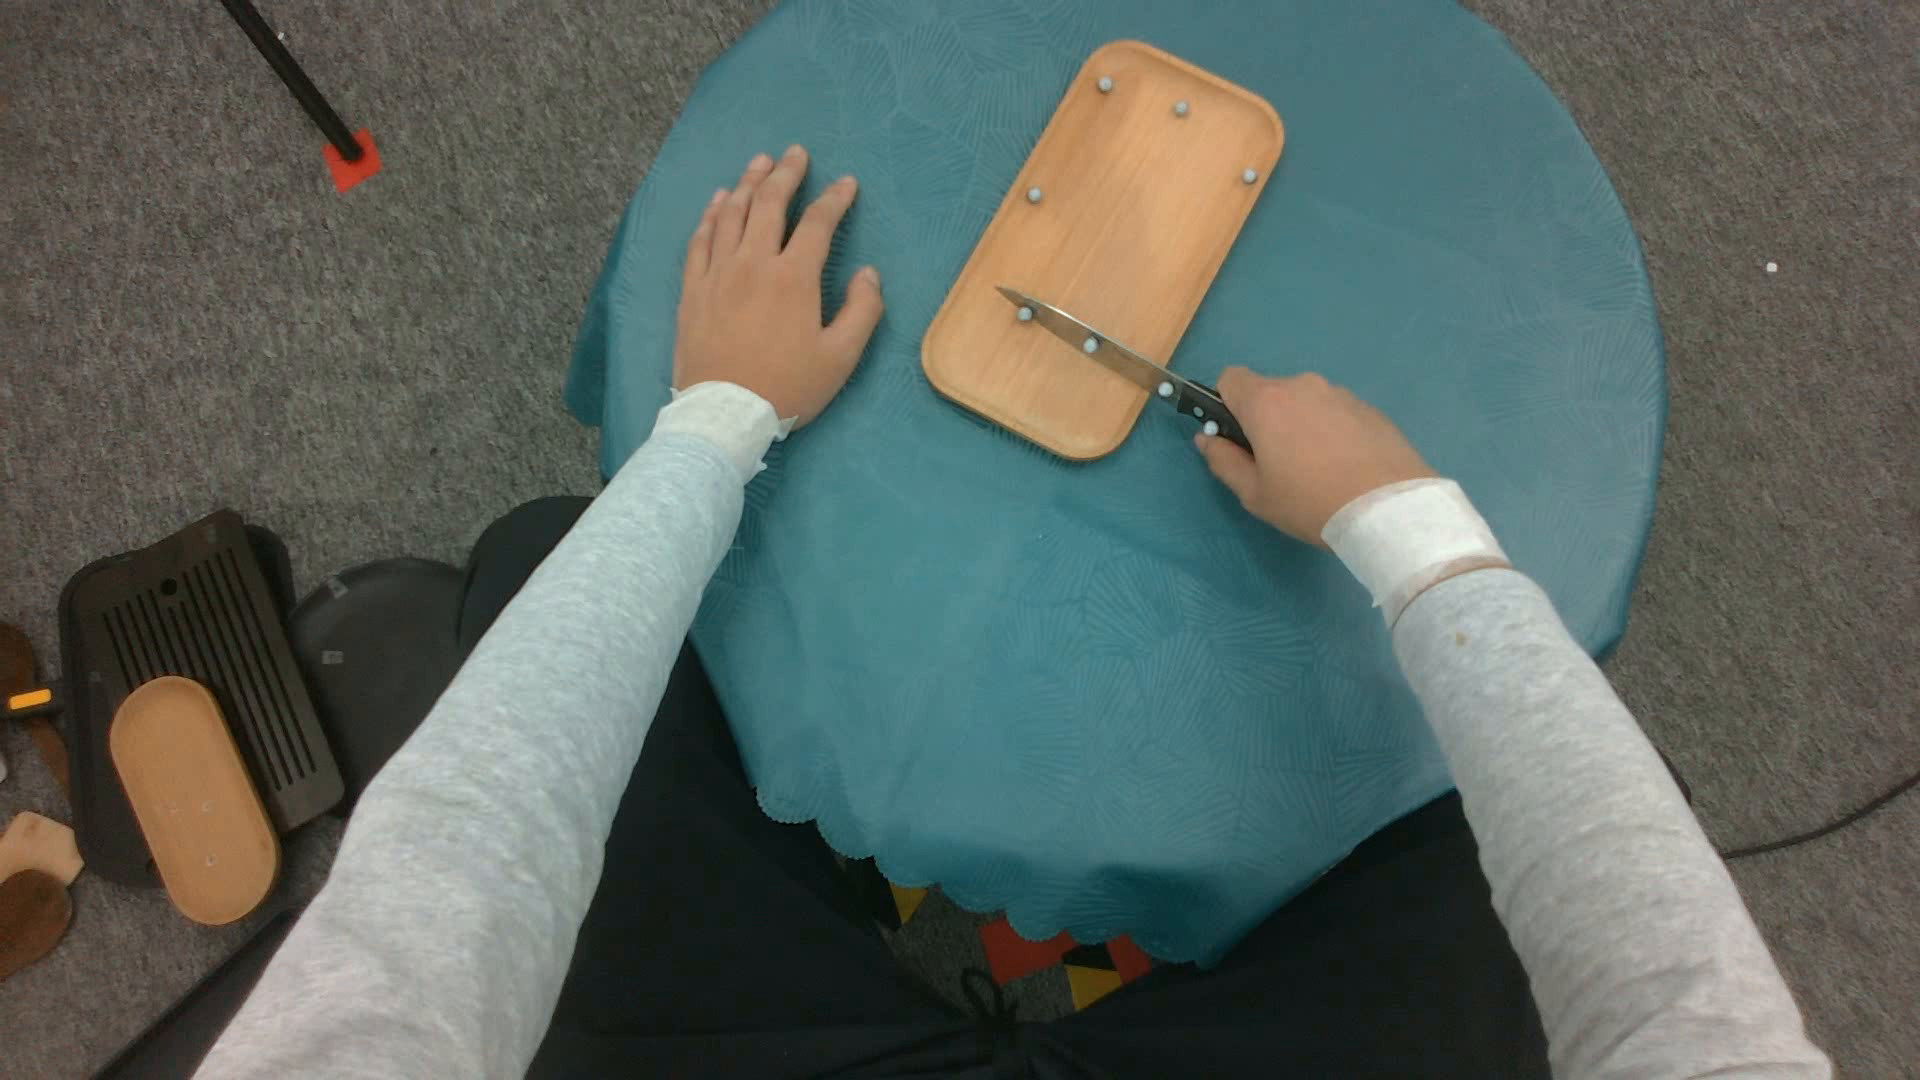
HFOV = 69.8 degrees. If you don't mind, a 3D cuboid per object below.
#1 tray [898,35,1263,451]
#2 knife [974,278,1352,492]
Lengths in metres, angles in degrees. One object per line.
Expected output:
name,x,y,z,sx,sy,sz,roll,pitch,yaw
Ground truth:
tray,0.072,-0.173,0.788,0.130,0.023,0.251,28,76,9
knife,0.105,-0.090,0.743,0.238,0.024,0.016,32,63,18
